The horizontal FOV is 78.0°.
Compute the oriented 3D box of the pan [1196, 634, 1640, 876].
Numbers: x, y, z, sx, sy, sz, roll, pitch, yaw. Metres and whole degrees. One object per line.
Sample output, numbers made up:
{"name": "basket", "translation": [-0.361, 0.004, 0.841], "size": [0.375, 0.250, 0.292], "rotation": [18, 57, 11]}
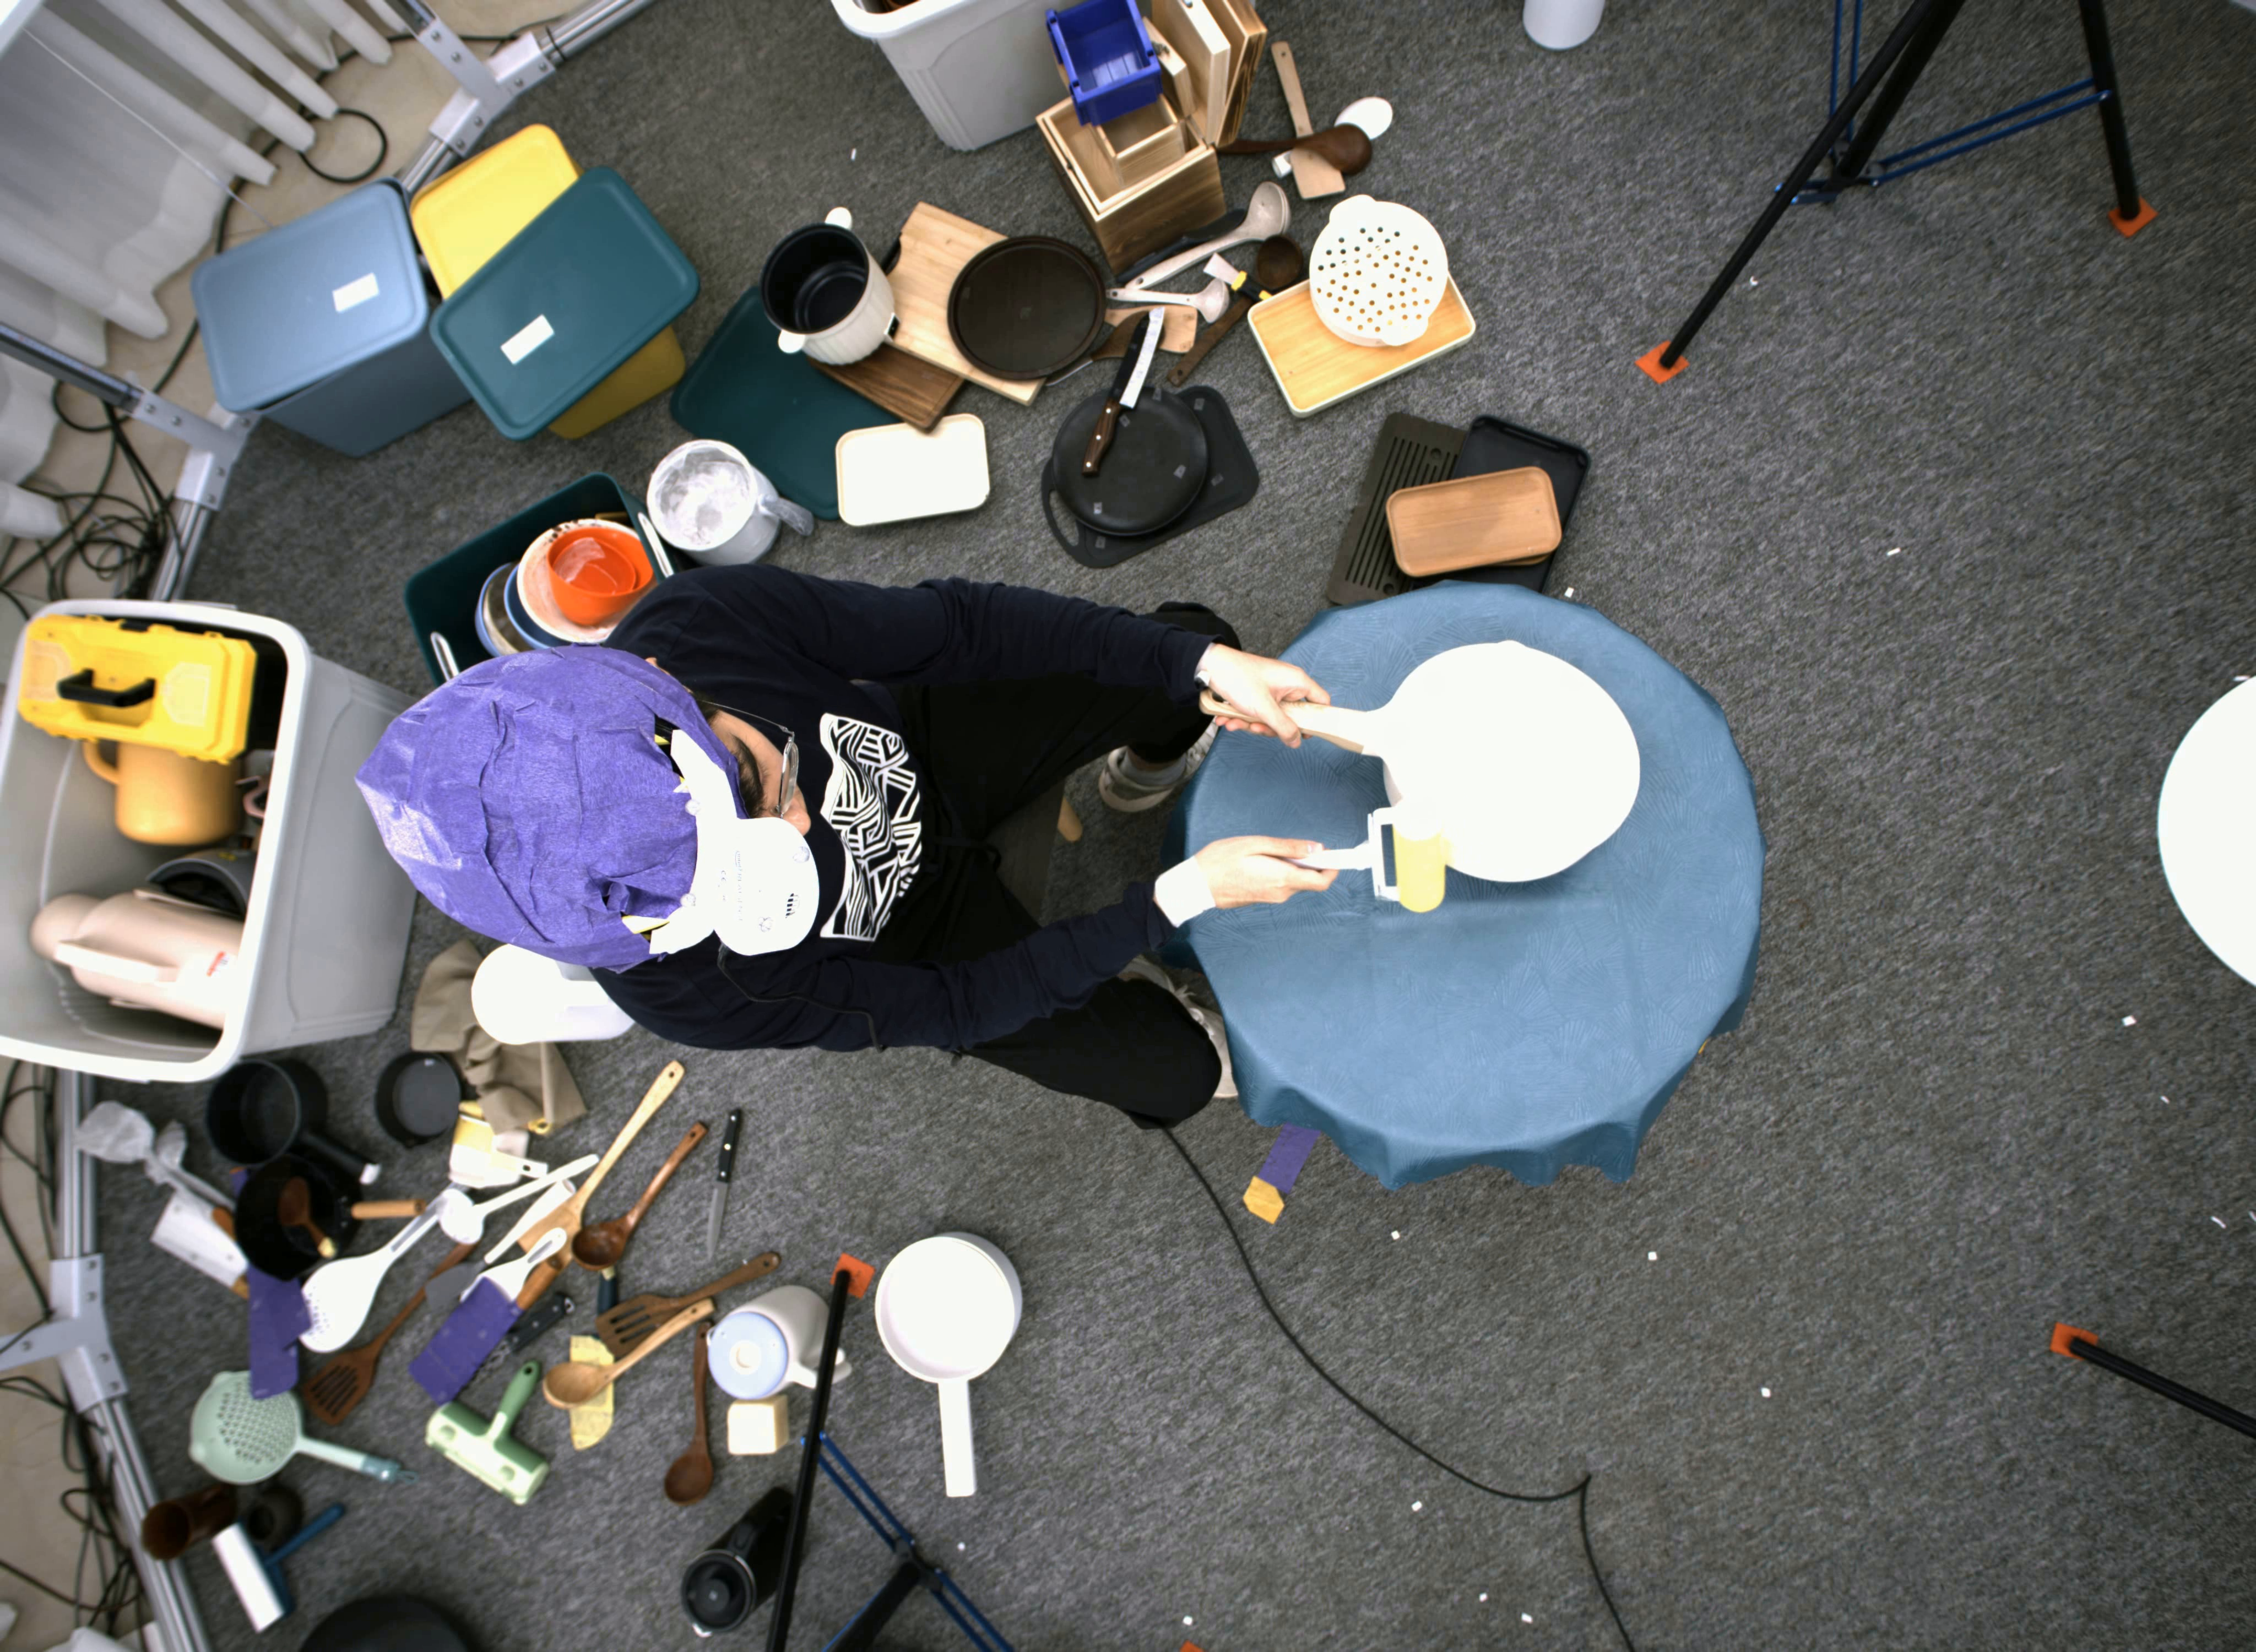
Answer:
{"name": "pan", "translation": [0.282, -0.079, 1.368], "size": [0.435, 0.104, 0.258], "rotation": [7, 65, 3]}

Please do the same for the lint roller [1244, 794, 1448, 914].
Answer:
{"name": "lint roller", "translation": [0.208, 0.039, 1.320], "size": [0.193, 0.177, 0.050], "rotation": [-10, 60, 9]}
